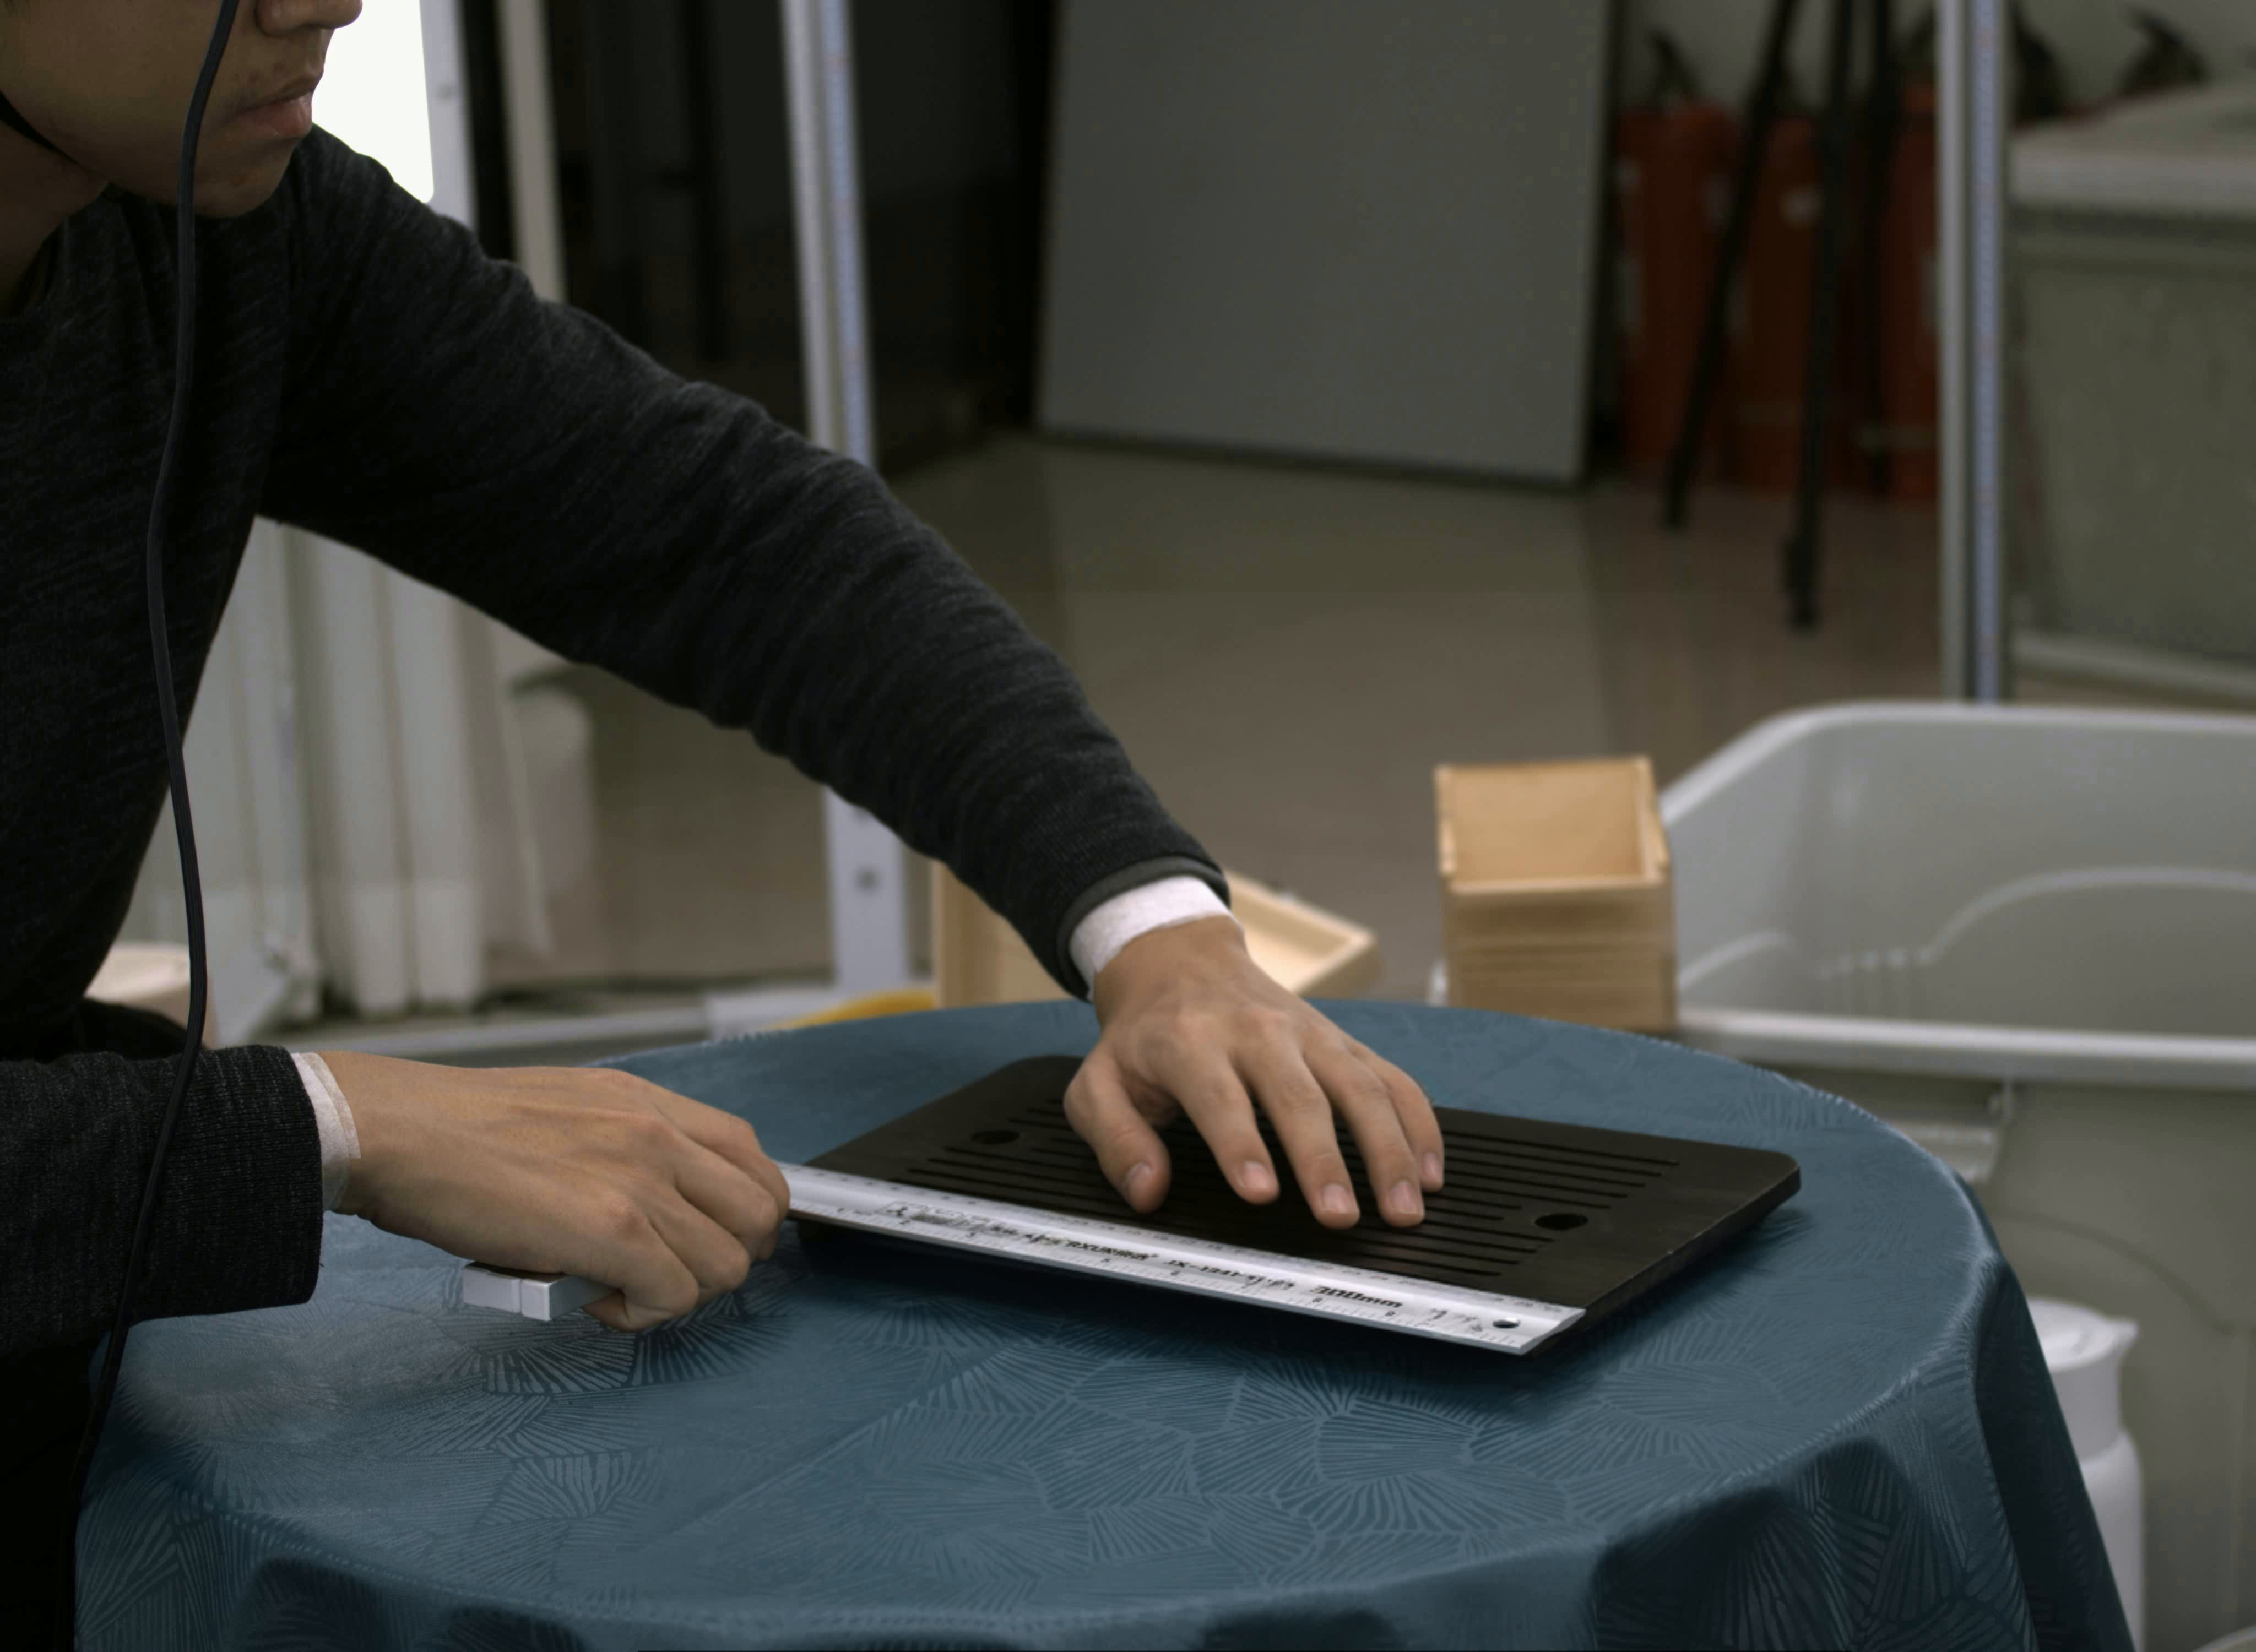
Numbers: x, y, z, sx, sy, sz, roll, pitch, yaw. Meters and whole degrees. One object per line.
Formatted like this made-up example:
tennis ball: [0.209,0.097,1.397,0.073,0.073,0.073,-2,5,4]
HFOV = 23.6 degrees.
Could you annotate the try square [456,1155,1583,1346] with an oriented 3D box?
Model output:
try square: [-0.035,0.138,1.605,0.315,0.016,0.149,7,14,35]

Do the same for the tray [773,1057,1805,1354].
tray: [0.049,0.119,1.726,0.308,0.019,0.167,5,17,35]
